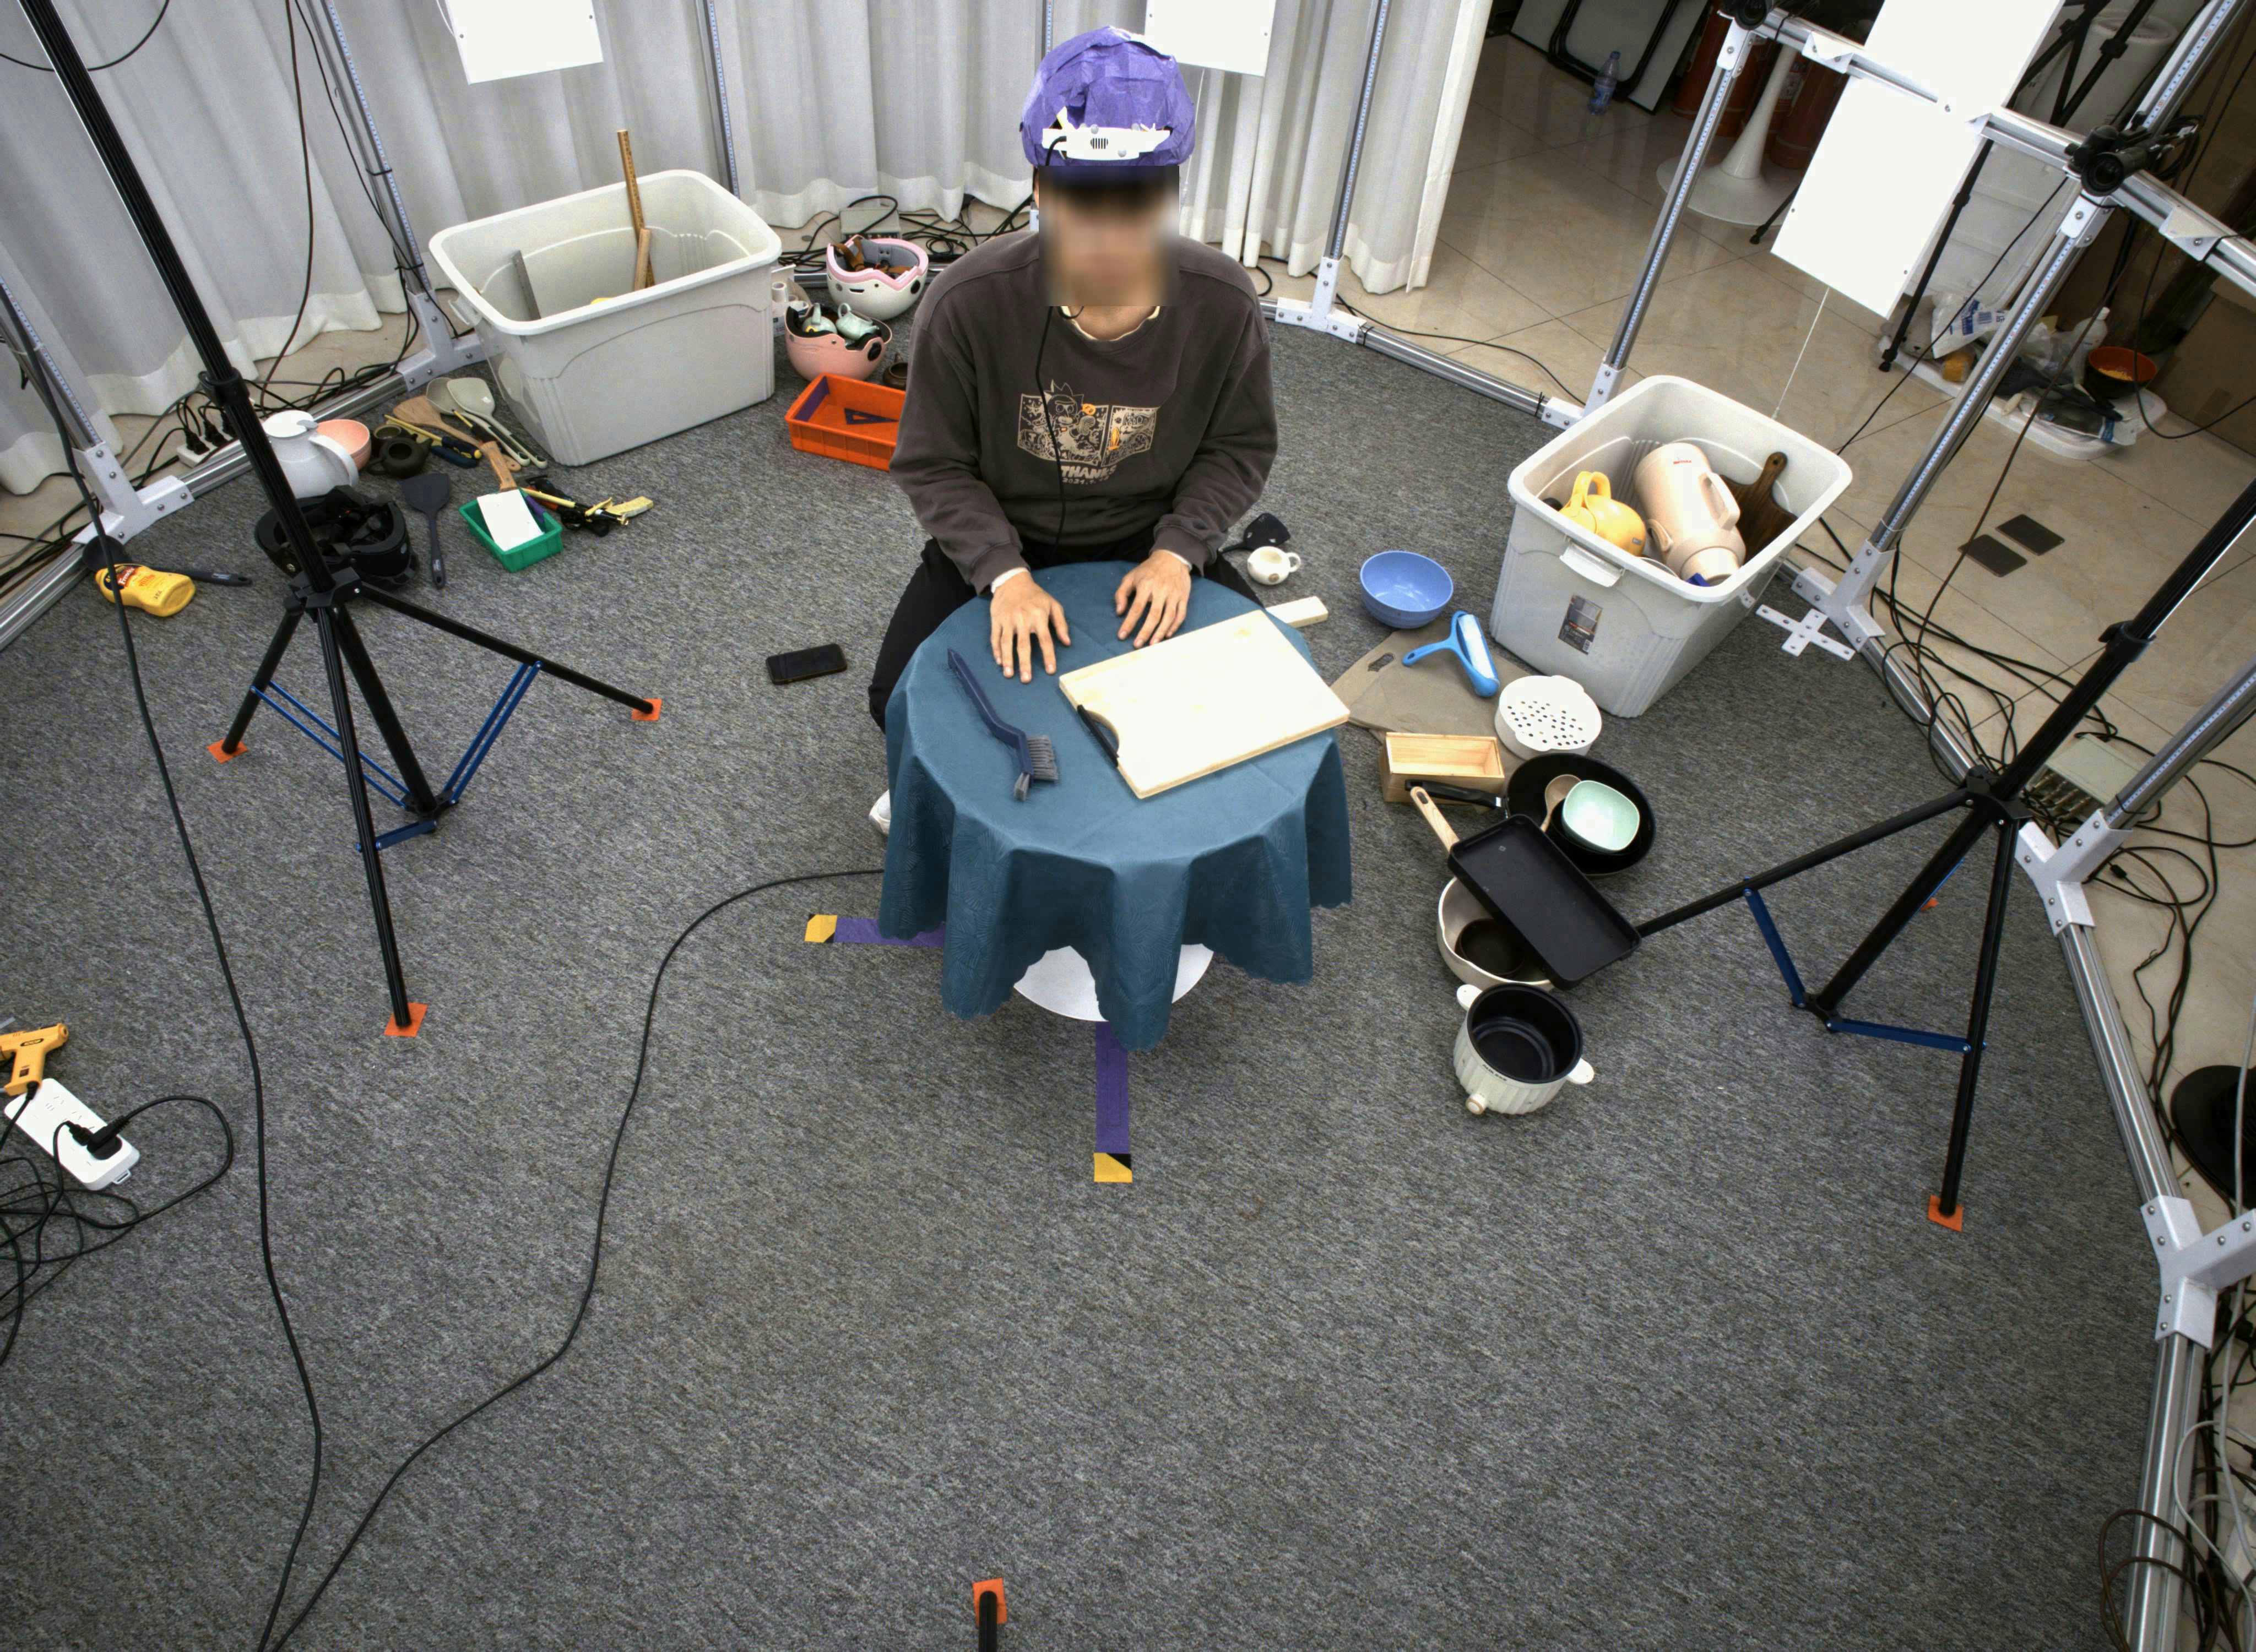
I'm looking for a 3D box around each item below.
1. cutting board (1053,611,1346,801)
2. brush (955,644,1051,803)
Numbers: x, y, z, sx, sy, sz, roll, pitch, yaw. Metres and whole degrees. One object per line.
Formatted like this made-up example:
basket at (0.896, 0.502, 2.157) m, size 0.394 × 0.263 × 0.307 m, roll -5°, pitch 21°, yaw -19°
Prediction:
cutting board at (0.102, -0.178, 1.816) m, size 0.349 × 0.023 × 0.256 m, roll -21°, pitch 53°, yaw -21°
brush at (-0.191, -0.146, 1.761) m, size 0.096 × 0.033 × 0.278 m, roll -26°, pitch 56°, yaw -24°
